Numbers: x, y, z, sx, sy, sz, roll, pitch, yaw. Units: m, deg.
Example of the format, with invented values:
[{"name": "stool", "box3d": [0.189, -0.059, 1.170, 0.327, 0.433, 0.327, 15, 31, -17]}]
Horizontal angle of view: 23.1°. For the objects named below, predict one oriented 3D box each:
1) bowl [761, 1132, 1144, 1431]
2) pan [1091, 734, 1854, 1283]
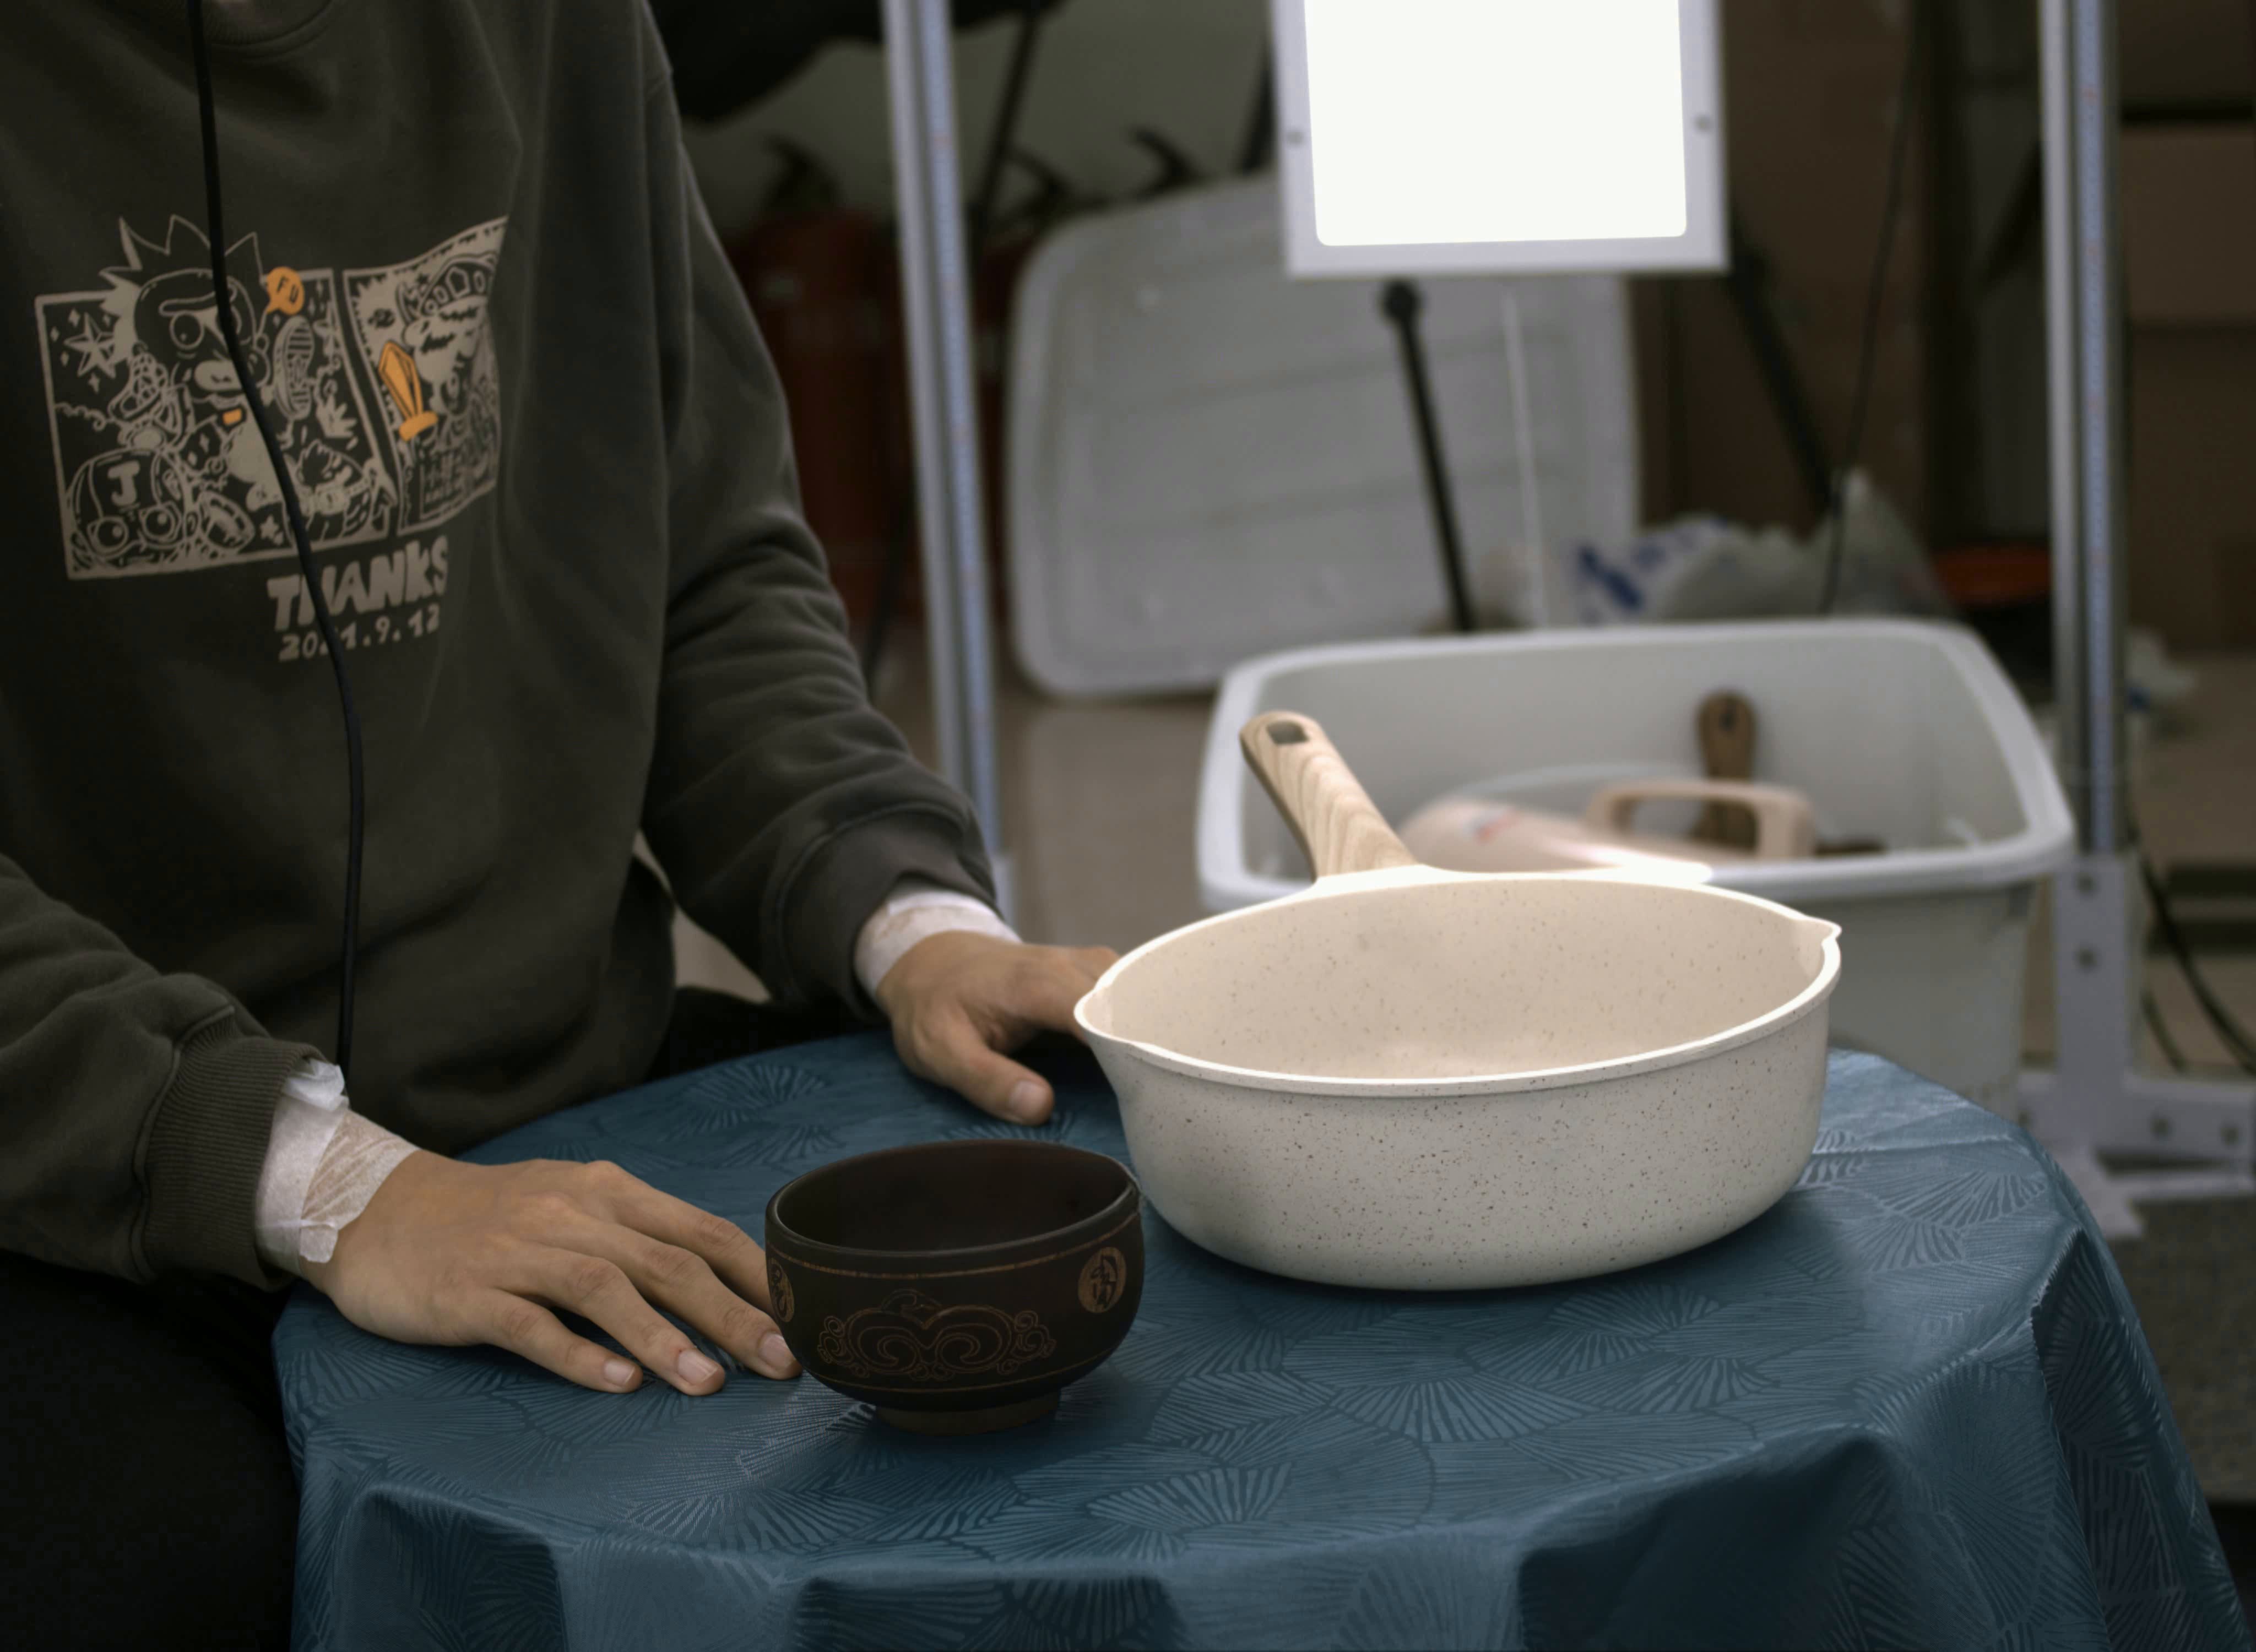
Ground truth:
[{"name": "bowl", "box3d": [-0.052, 0.144, 1.695, 0.118, 0.070, 0.118, -7, 13, 0]}, {"name": "pan", "box3d": [0.103, 0.059, 1.930, 0.261, 0.102, 0.437, -9, 14, -8]}]
